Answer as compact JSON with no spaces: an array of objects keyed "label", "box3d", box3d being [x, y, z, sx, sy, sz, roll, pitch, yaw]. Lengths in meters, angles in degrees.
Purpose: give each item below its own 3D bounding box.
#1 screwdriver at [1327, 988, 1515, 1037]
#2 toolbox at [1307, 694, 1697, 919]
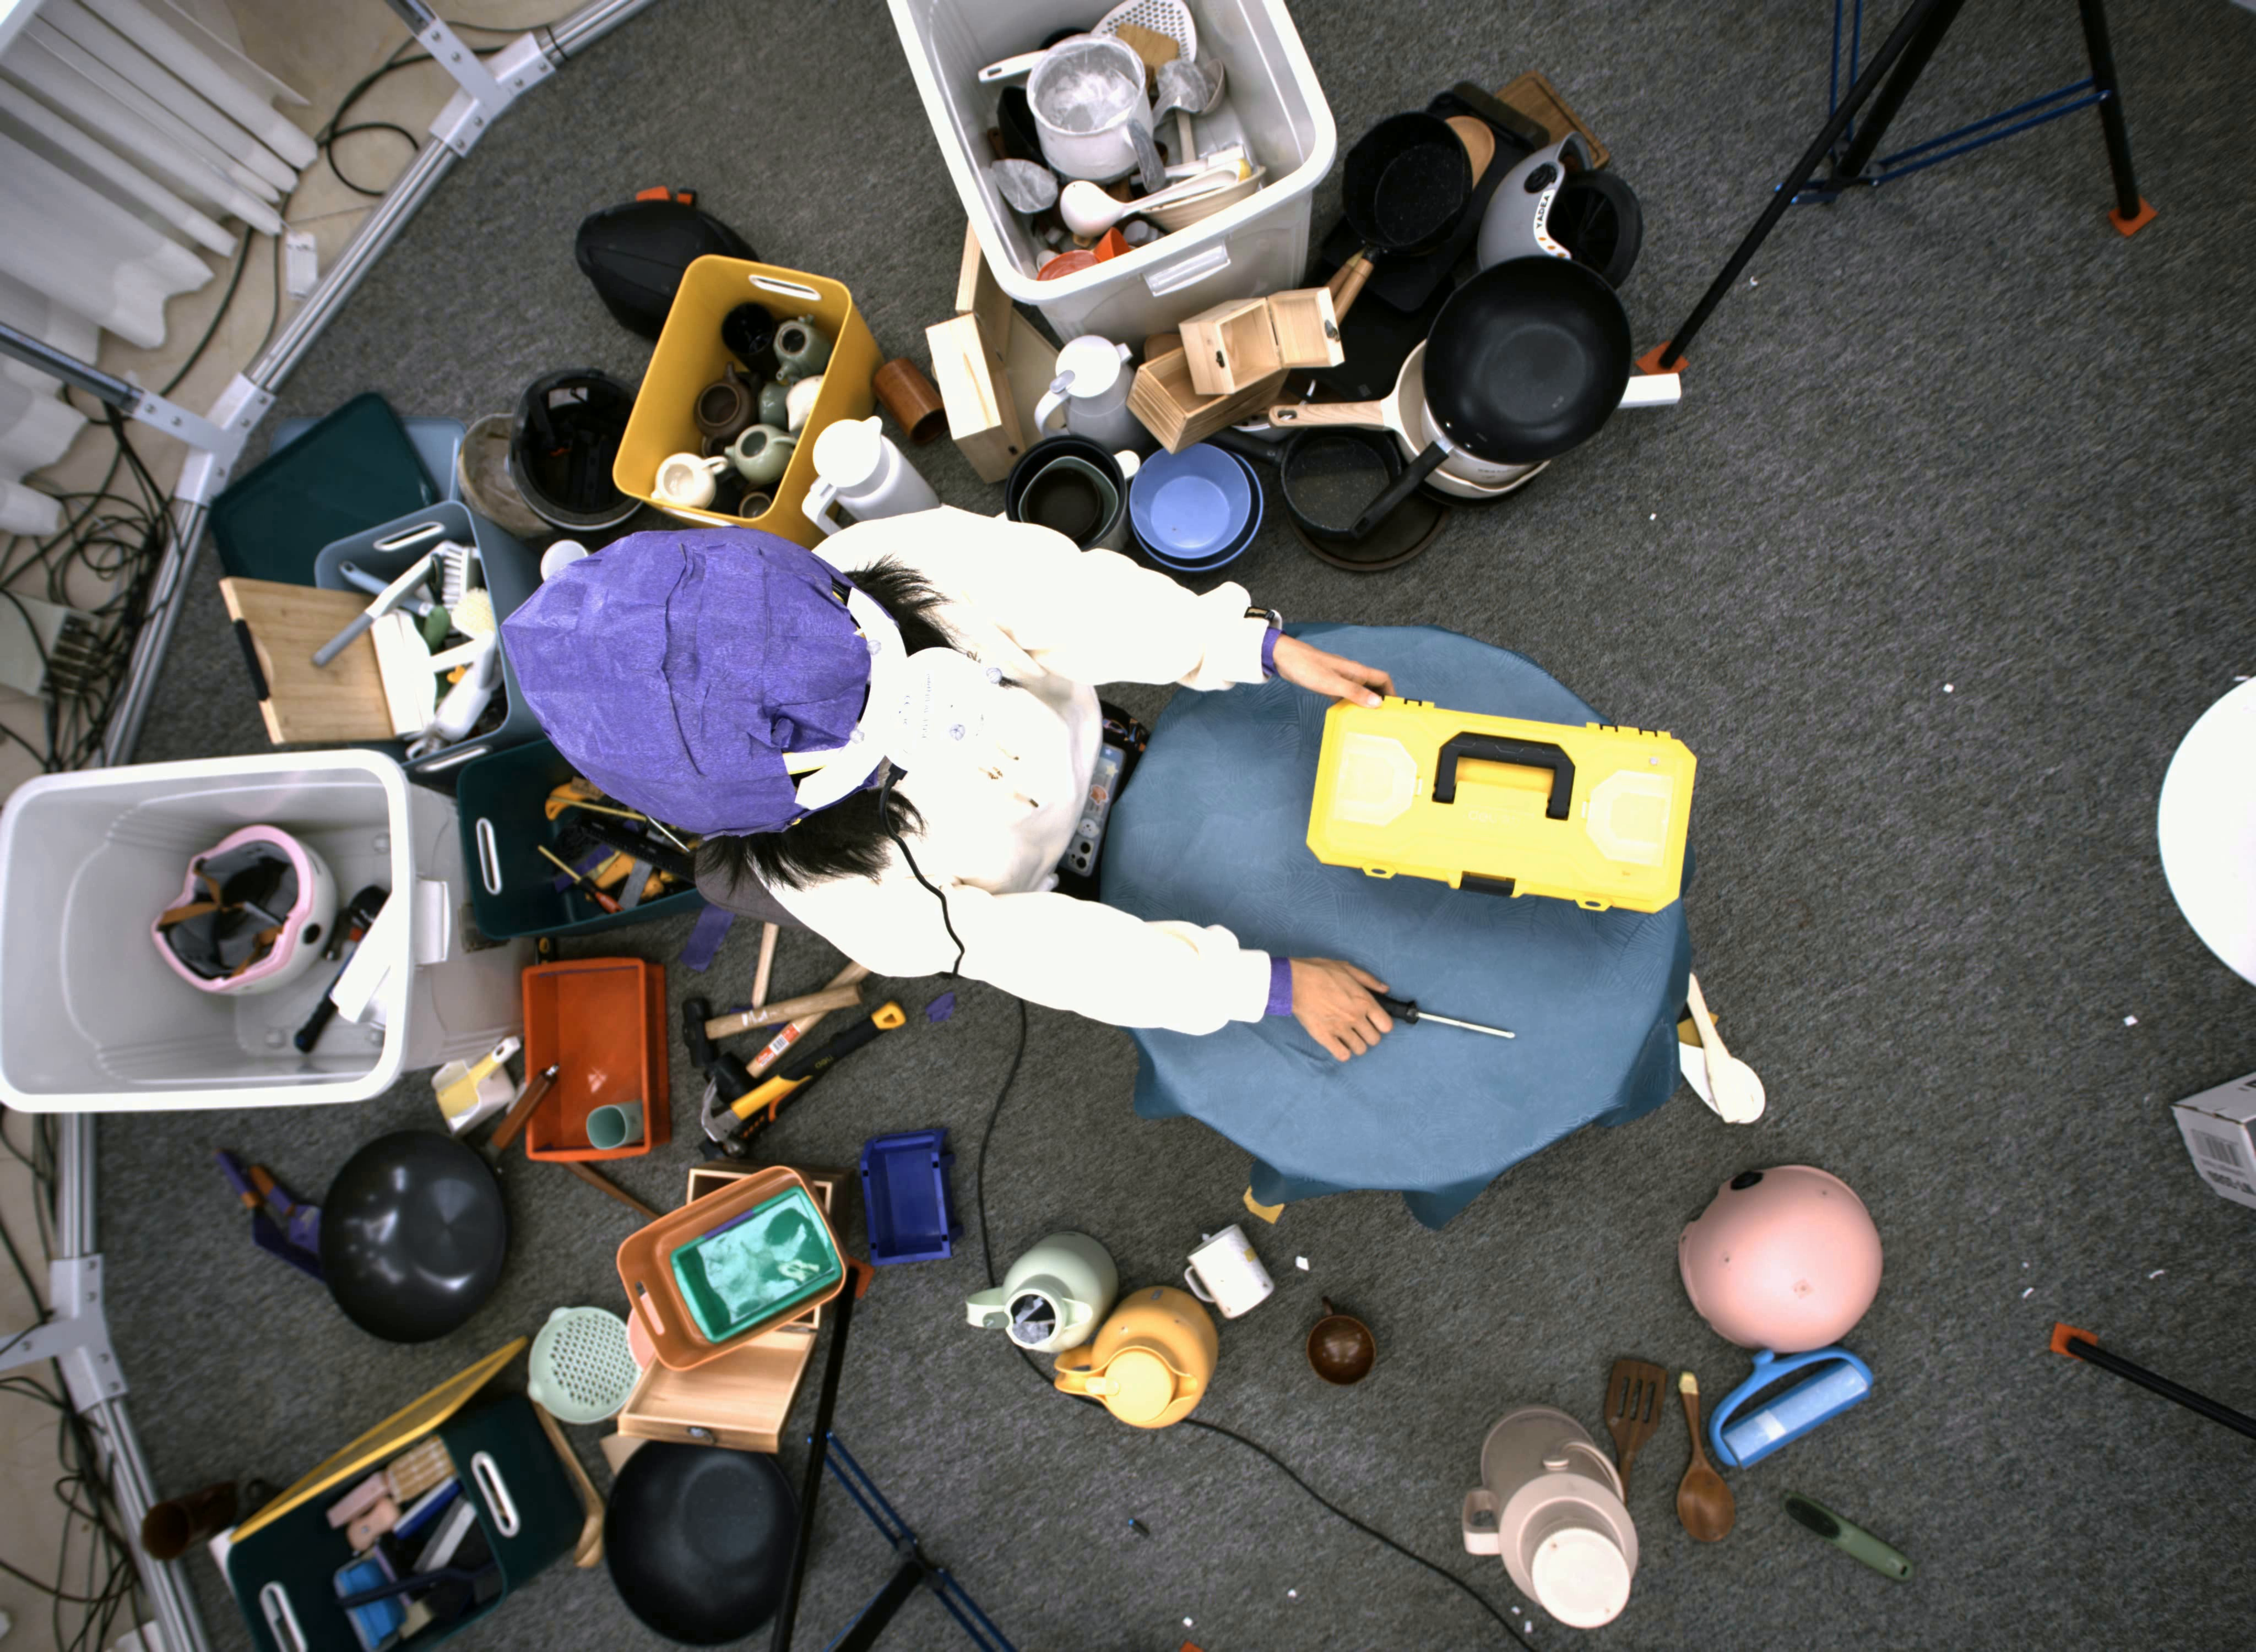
[{"label":"screwdriver","box3d":[0.304,0.196,1.430,0.196,0.031,0.031,11,87,9]},{"label":"toolbox","box3d":[0.362,-0.020,1.360,0.352,0.173,0.181,9,87,11]}]
